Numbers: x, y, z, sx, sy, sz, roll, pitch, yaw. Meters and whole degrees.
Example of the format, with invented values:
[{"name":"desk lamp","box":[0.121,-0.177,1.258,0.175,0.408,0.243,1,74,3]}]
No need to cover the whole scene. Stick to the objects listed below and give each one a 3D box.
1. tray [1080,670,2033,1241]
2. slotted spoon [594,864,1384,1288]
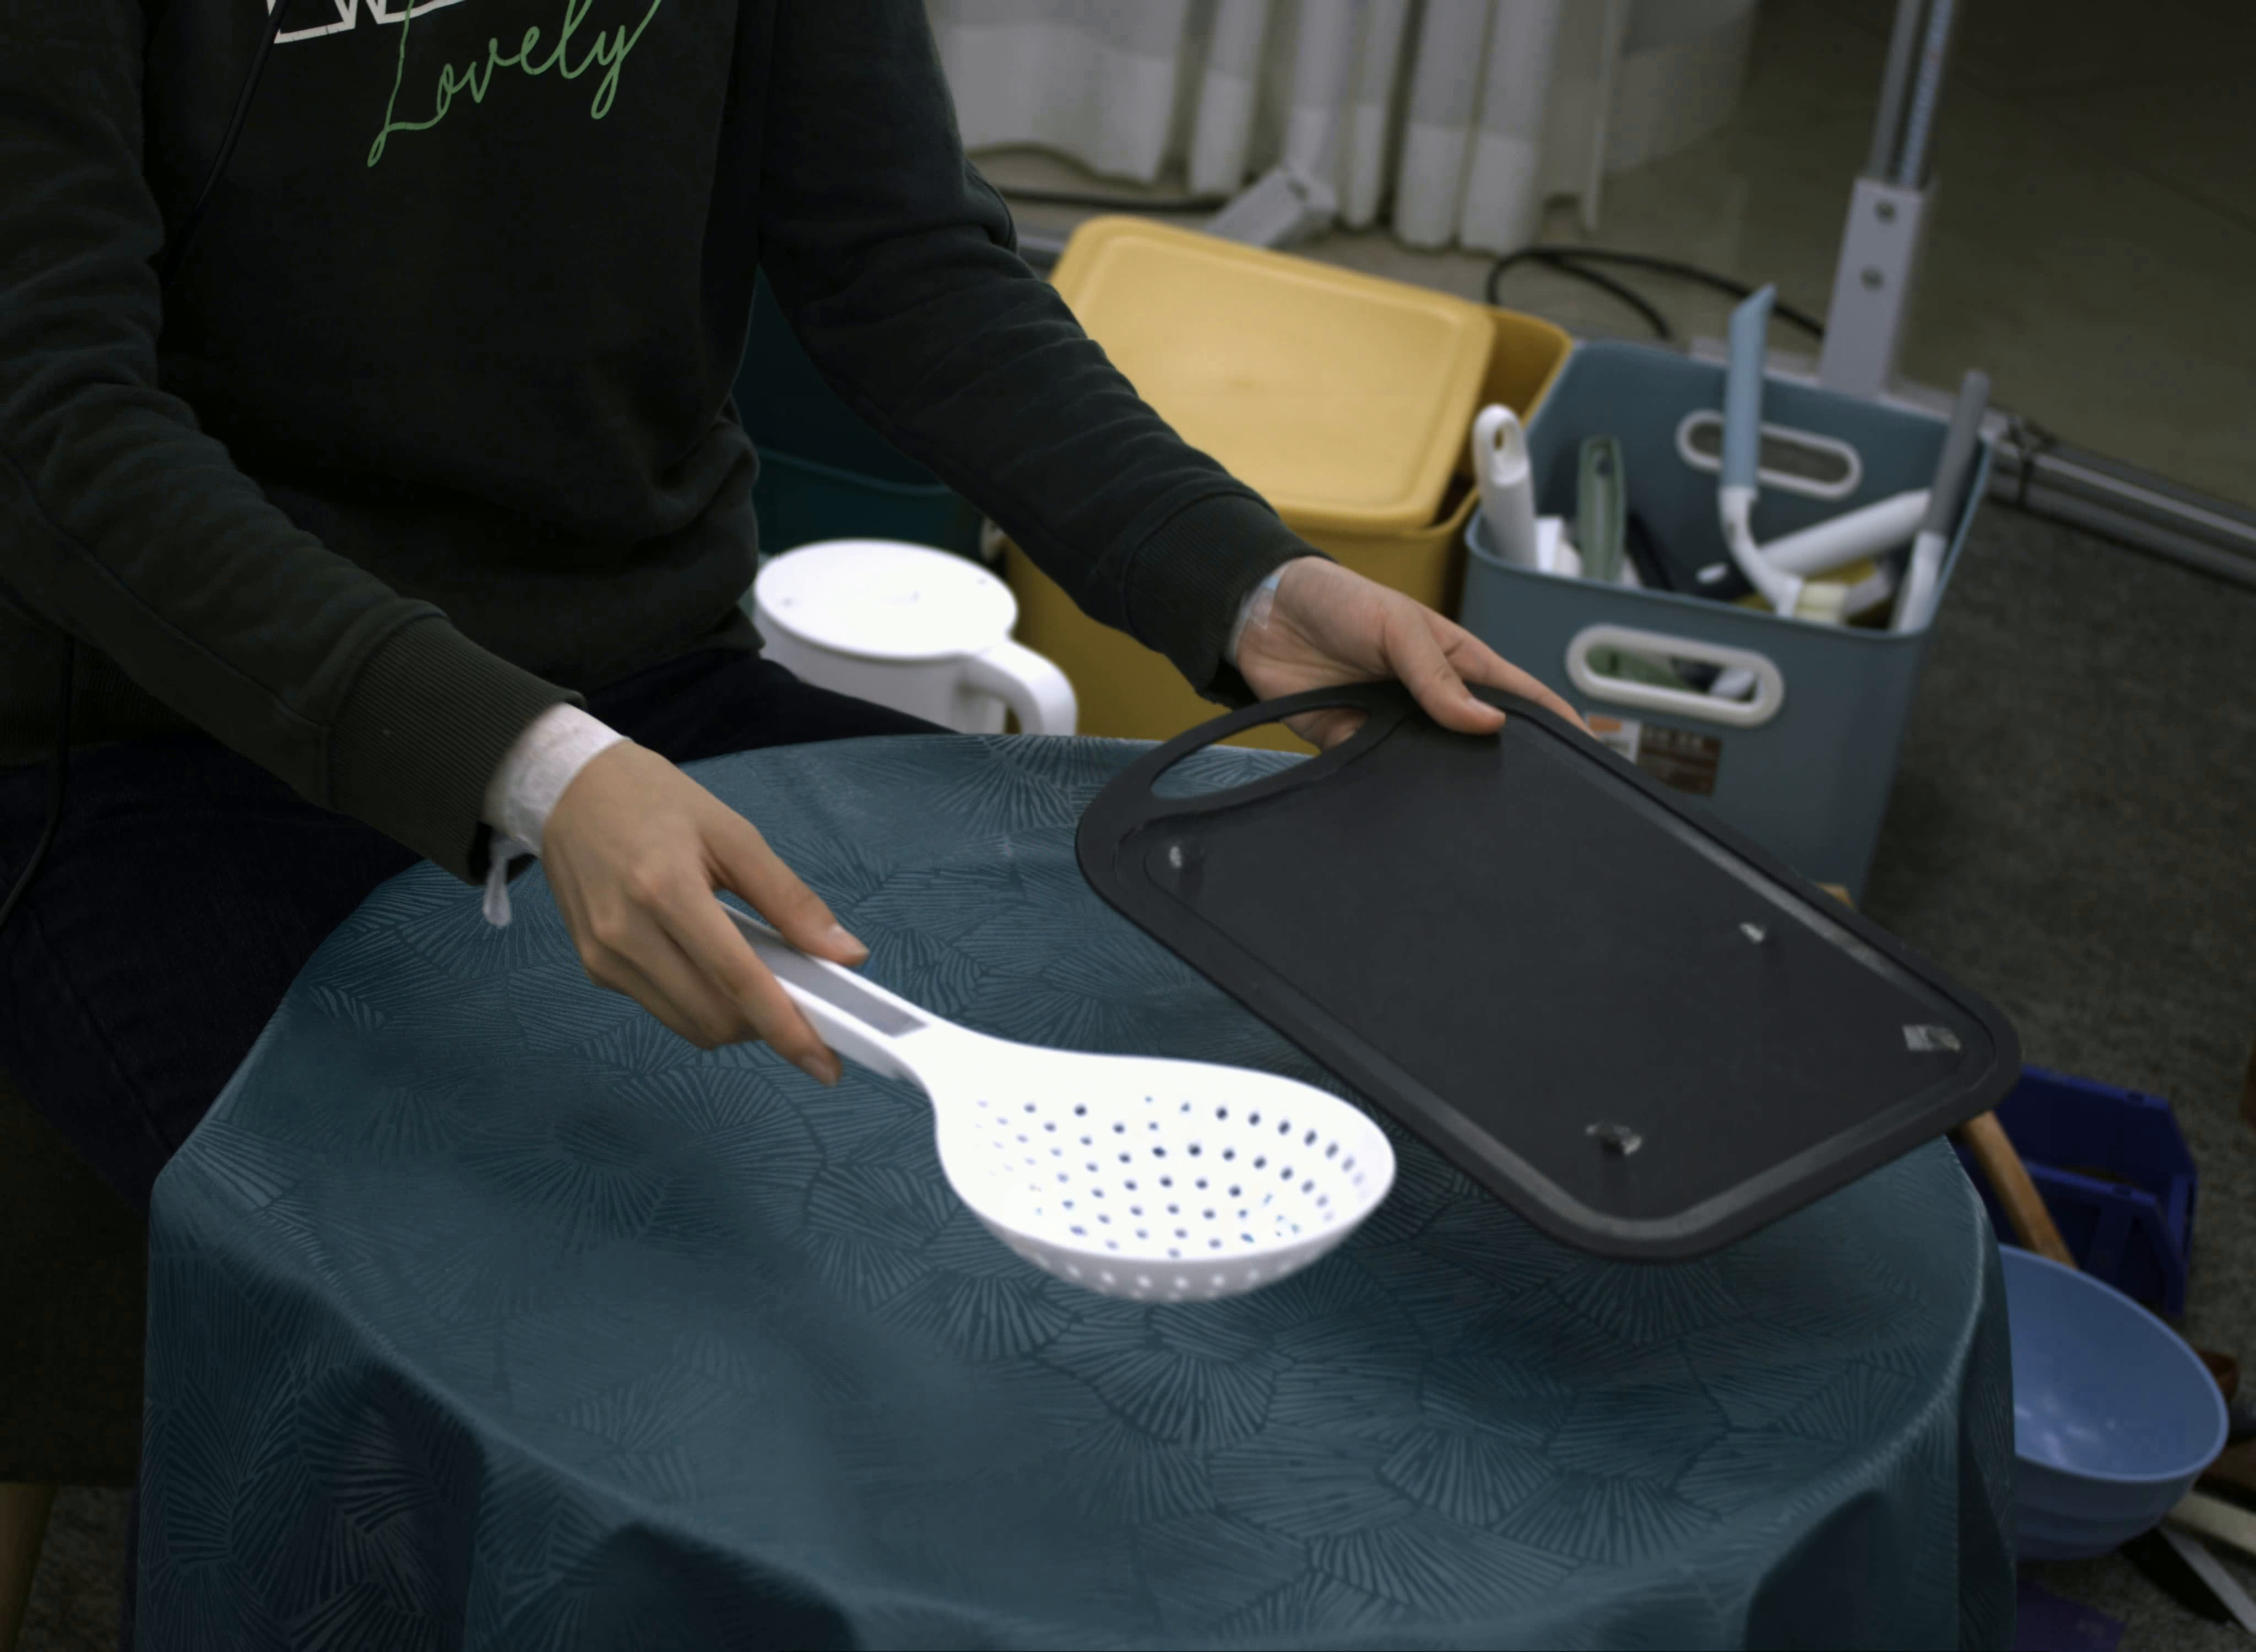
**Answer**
[{"name":"tray","box":[0.136,0.033,1.810,0.210,0.010,0.328,-22,41,-33]},{"name":"slotted spoon","box":[-0.061,0.071,1.679,0.135,0.045,0.352,-16,31,-37]}]
